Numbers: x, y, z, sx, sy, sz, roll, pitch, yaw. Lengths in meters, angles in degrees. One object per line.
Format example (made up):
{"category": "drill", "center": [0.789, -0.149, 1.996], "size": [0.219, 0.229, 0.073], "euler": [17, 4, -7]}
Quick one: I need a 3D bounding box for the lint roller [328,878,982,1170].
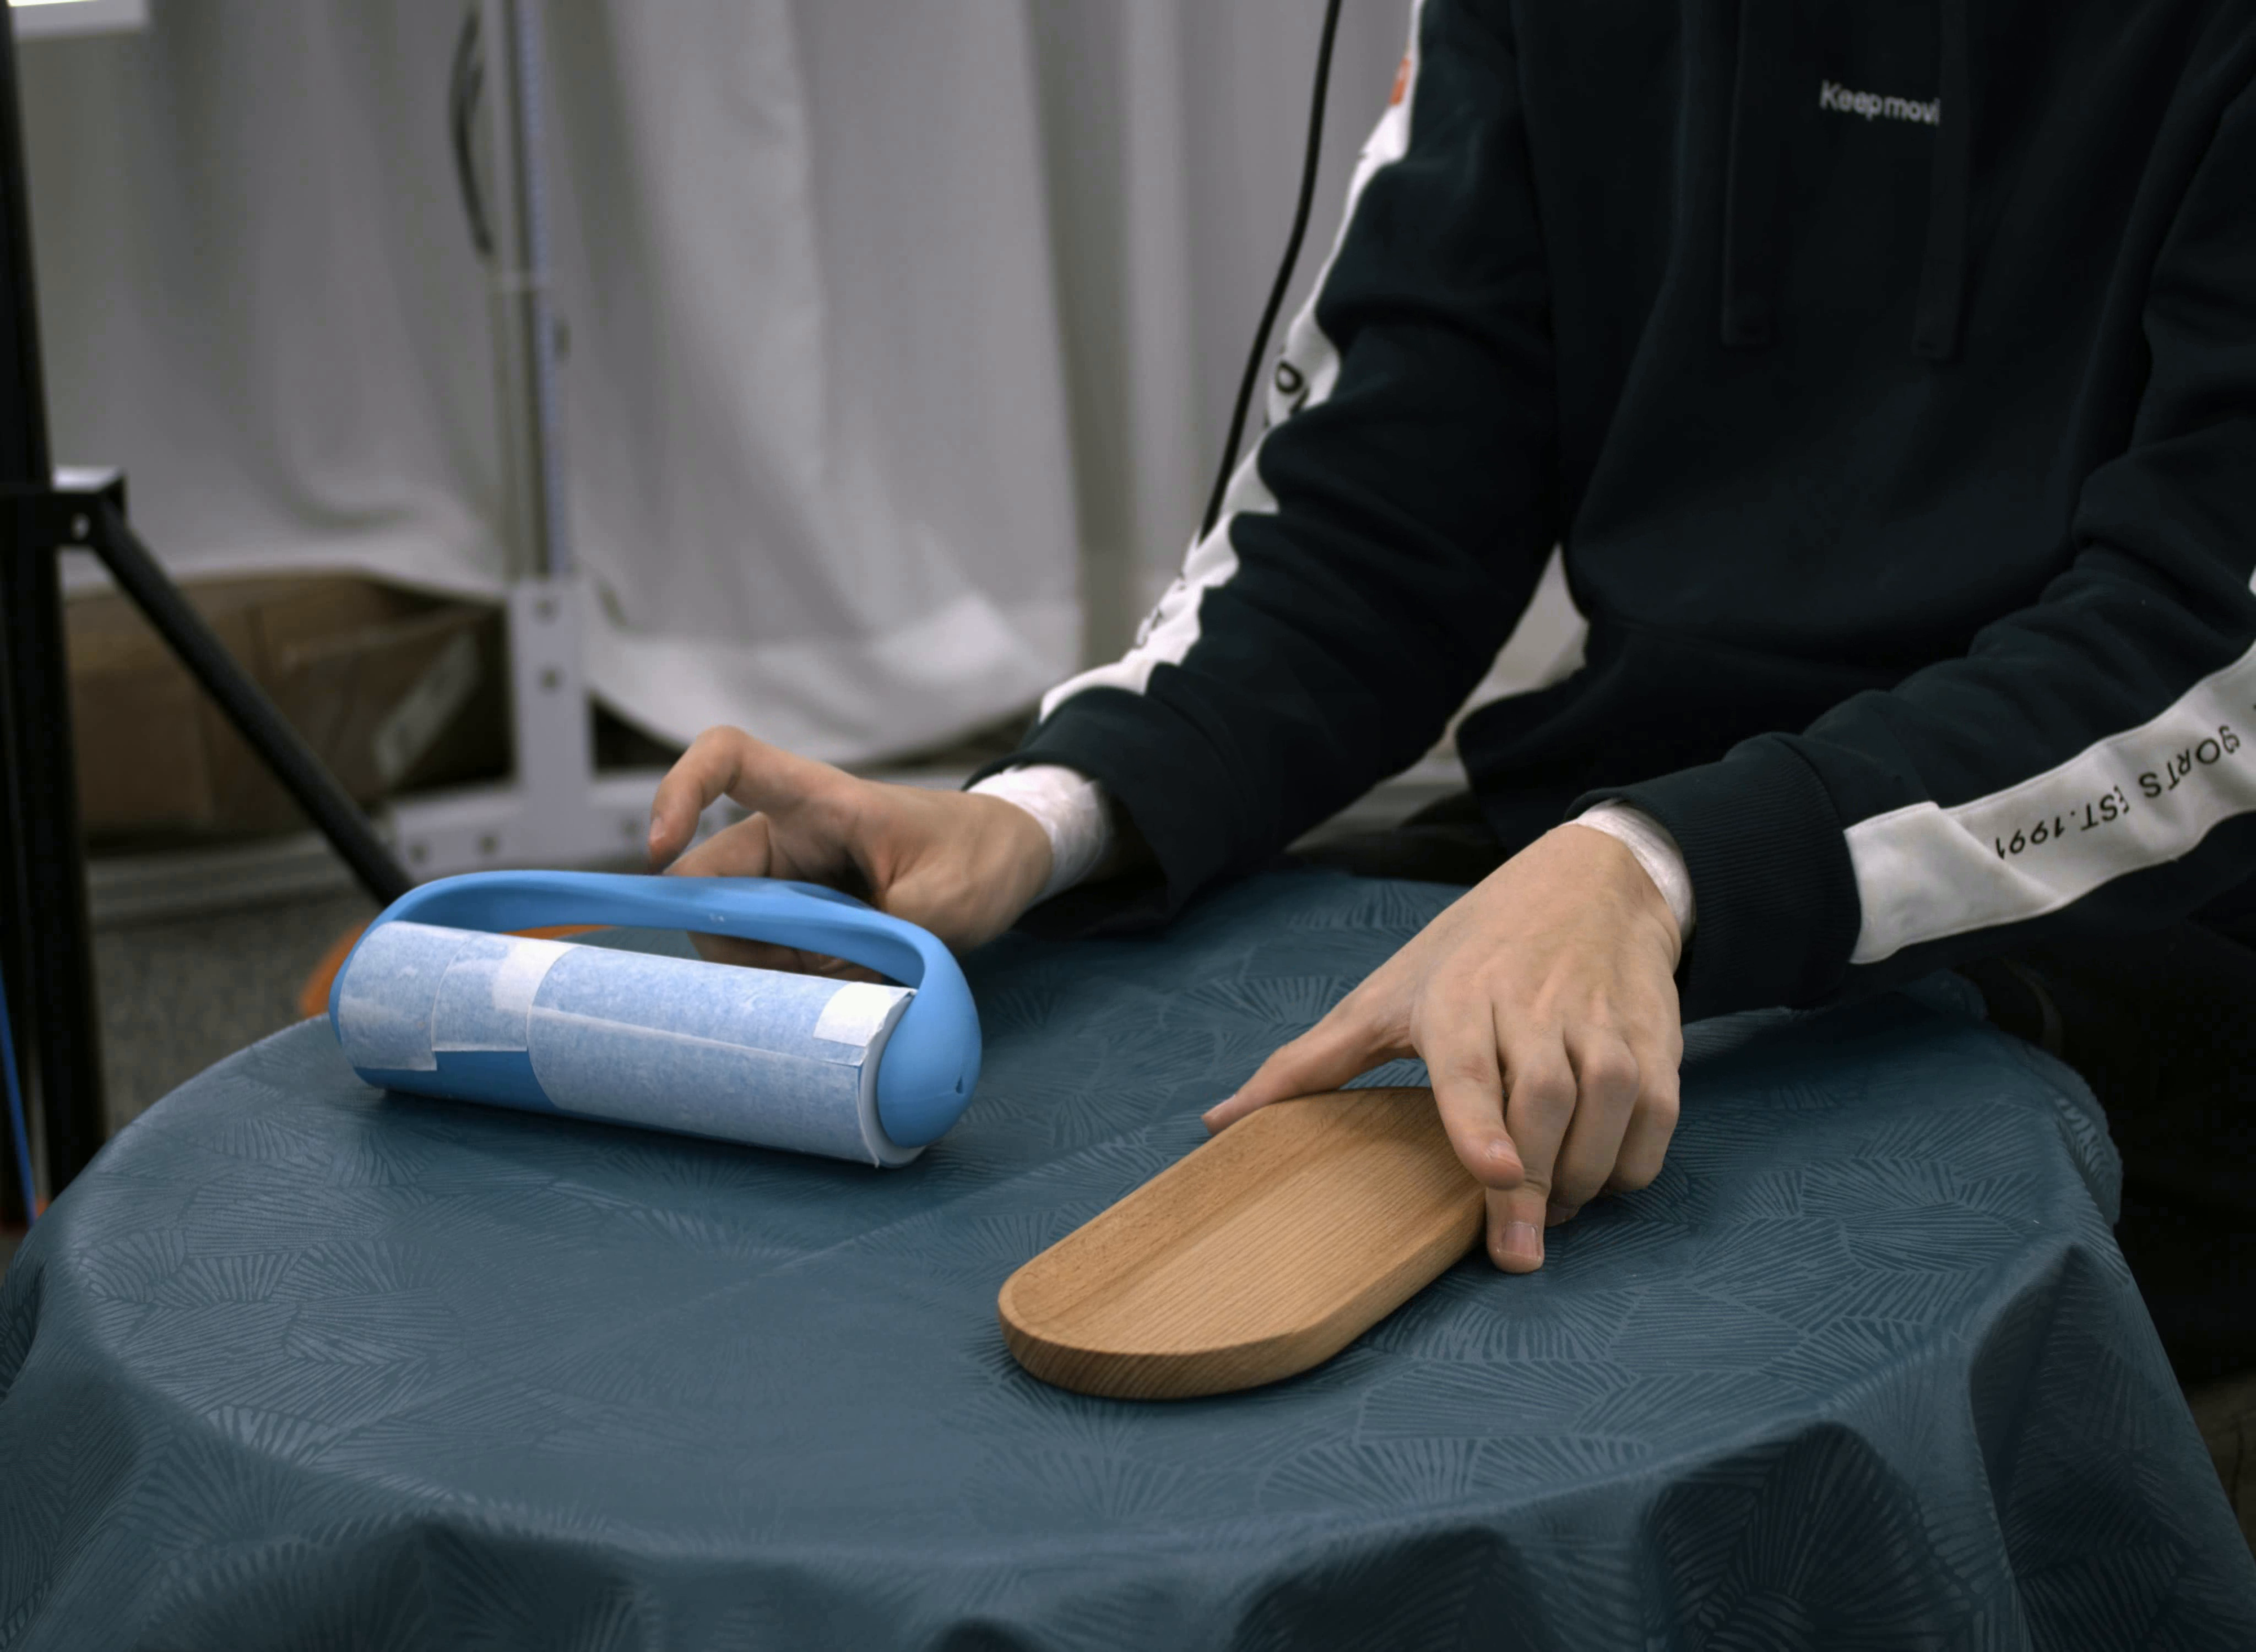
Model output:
{"category": "lint roller", "center": [-0.122, 0.049, 1.681], "size": [0.233, 0.068, 0.177], "euler": [4, 18, 28]}

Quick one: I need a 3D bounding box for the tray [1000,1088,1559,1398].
{"category": "tray", "center": [0.046, 0.115, 1.496], "size": [0.103, 0.020, 0.227], "euler": [6, 16, 27]}
